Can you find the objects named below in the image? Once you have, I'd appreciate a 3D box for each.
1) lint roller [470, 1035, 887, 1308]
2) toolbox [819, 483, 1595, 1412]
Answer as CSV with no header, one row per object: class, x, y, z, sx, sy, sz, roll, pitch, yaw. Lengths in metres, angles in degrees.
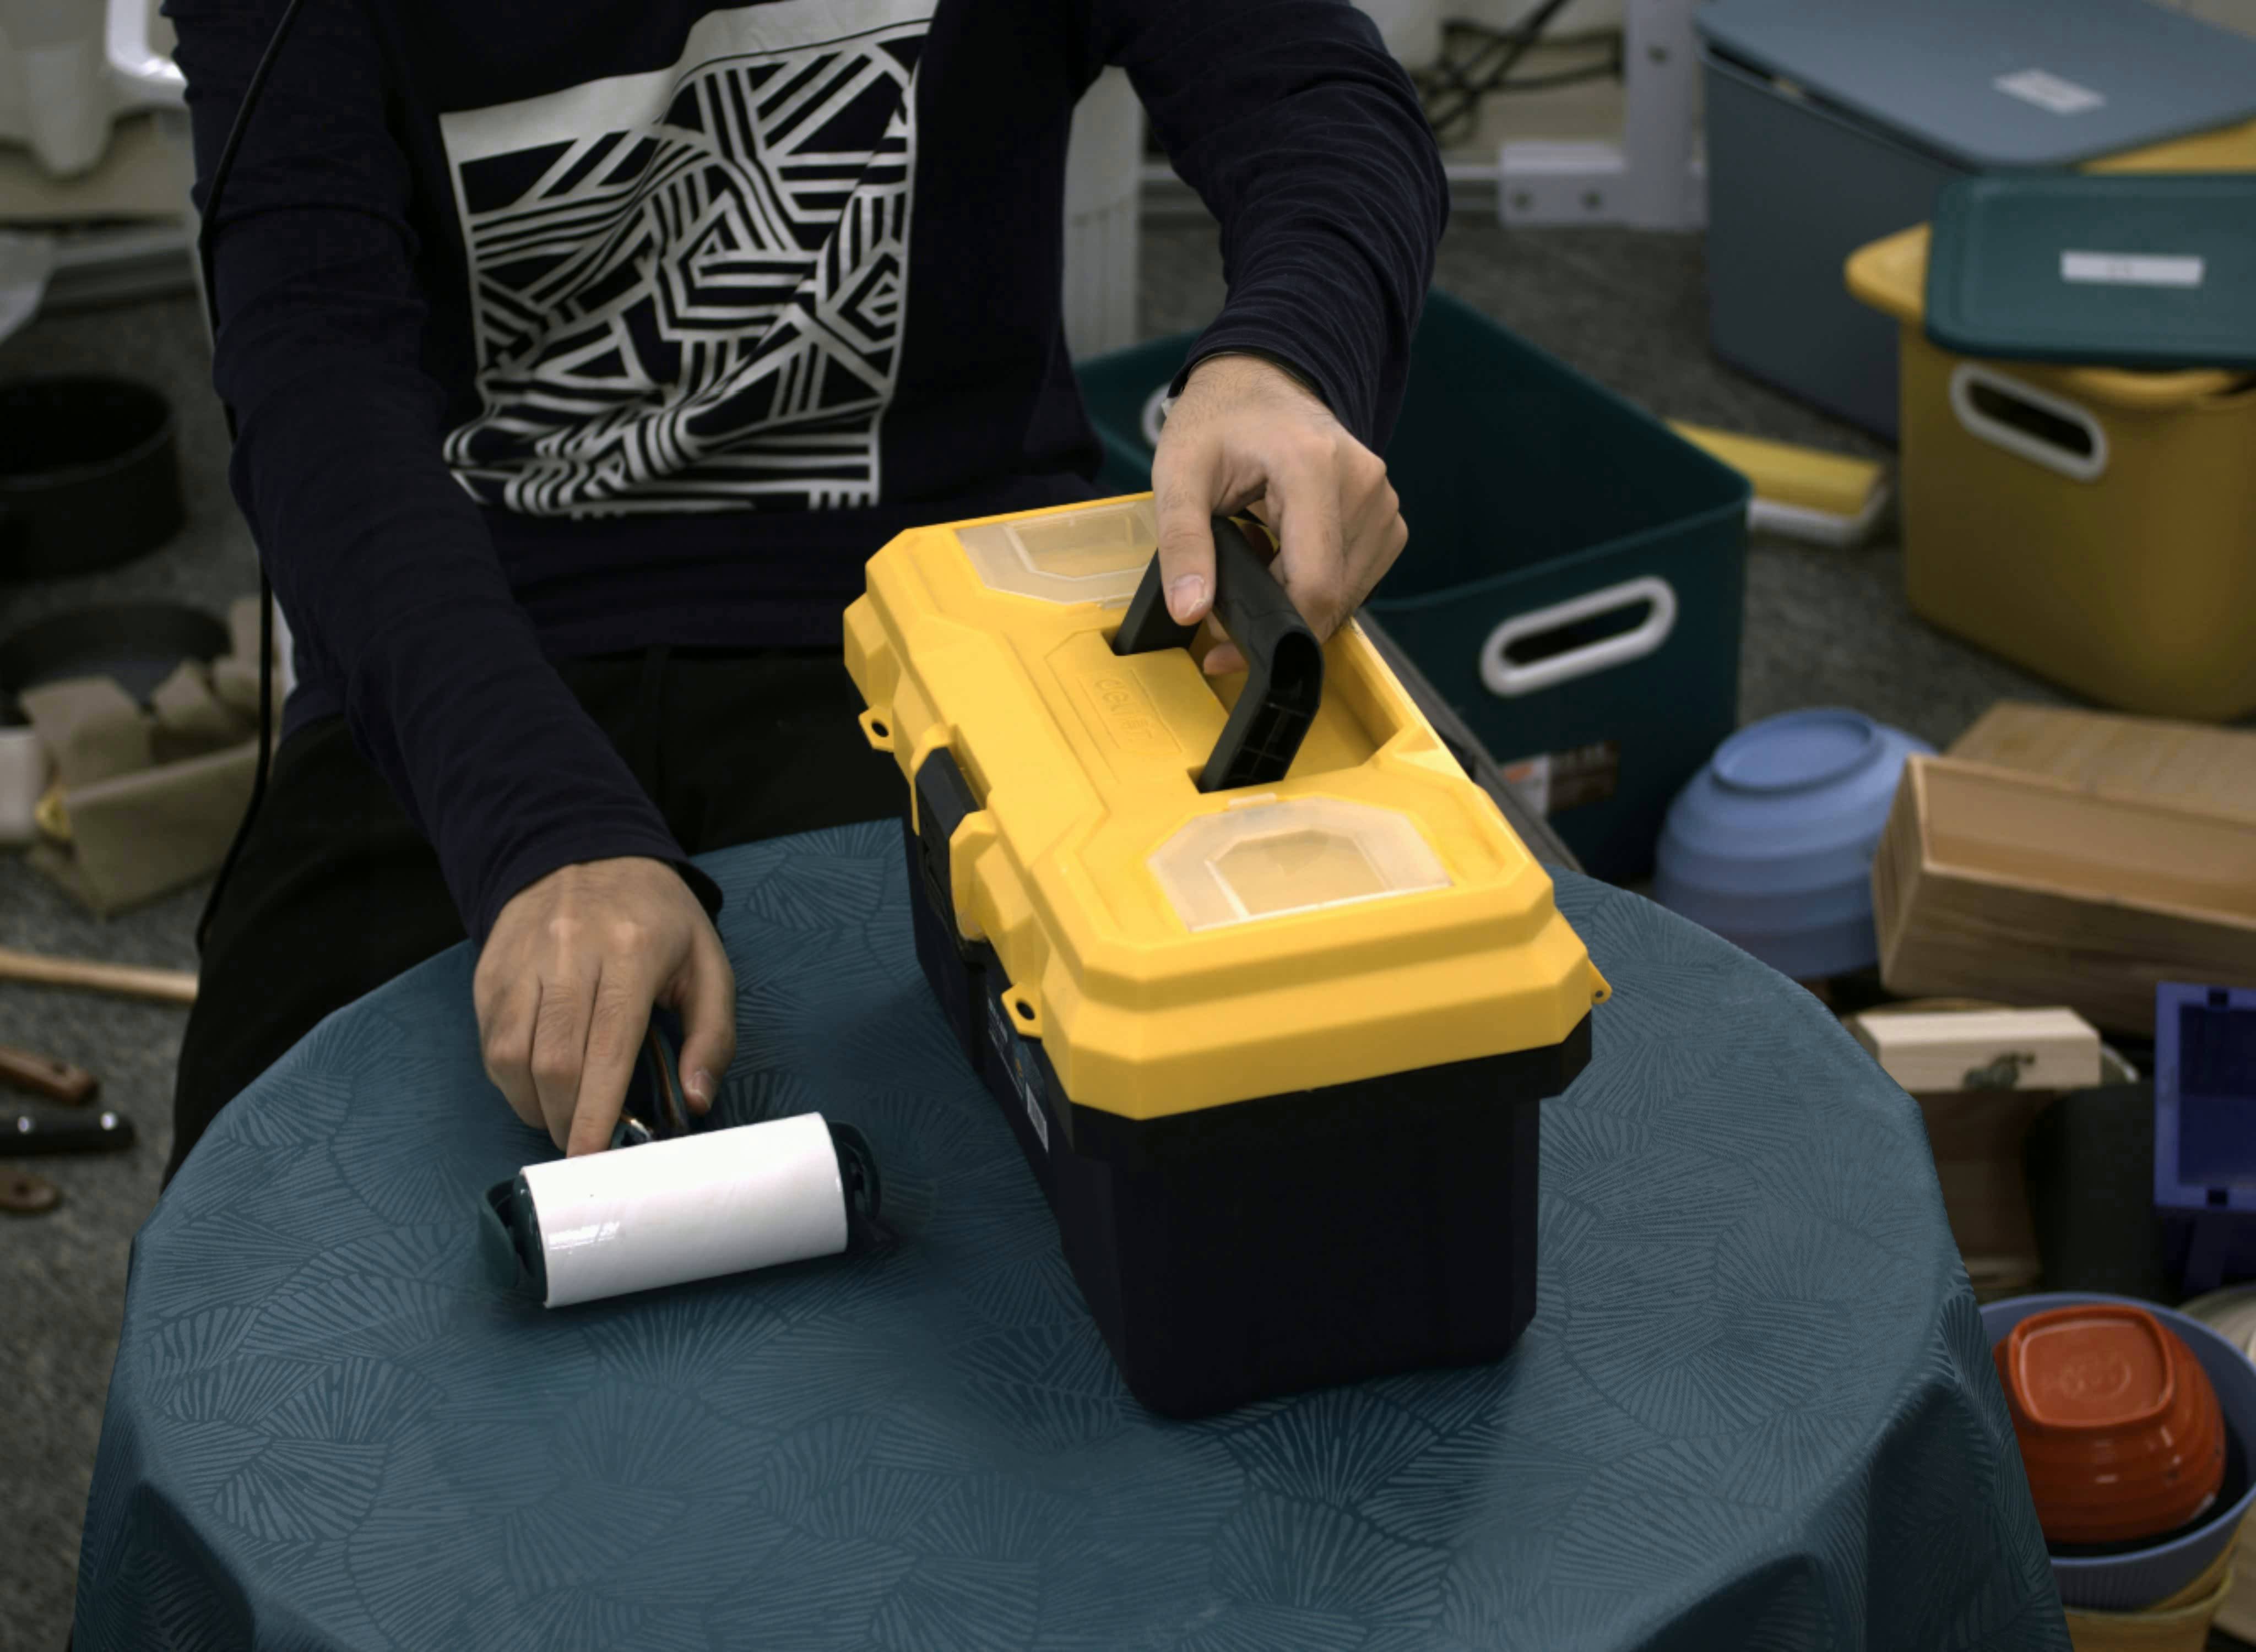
lint roller,-0.164,0.095,1.876,0.134,0.048,0.182,-11,28,-13
toolbox,0.020,0.033,1.846,0.181,0.171,0.355,-9,27,-13
